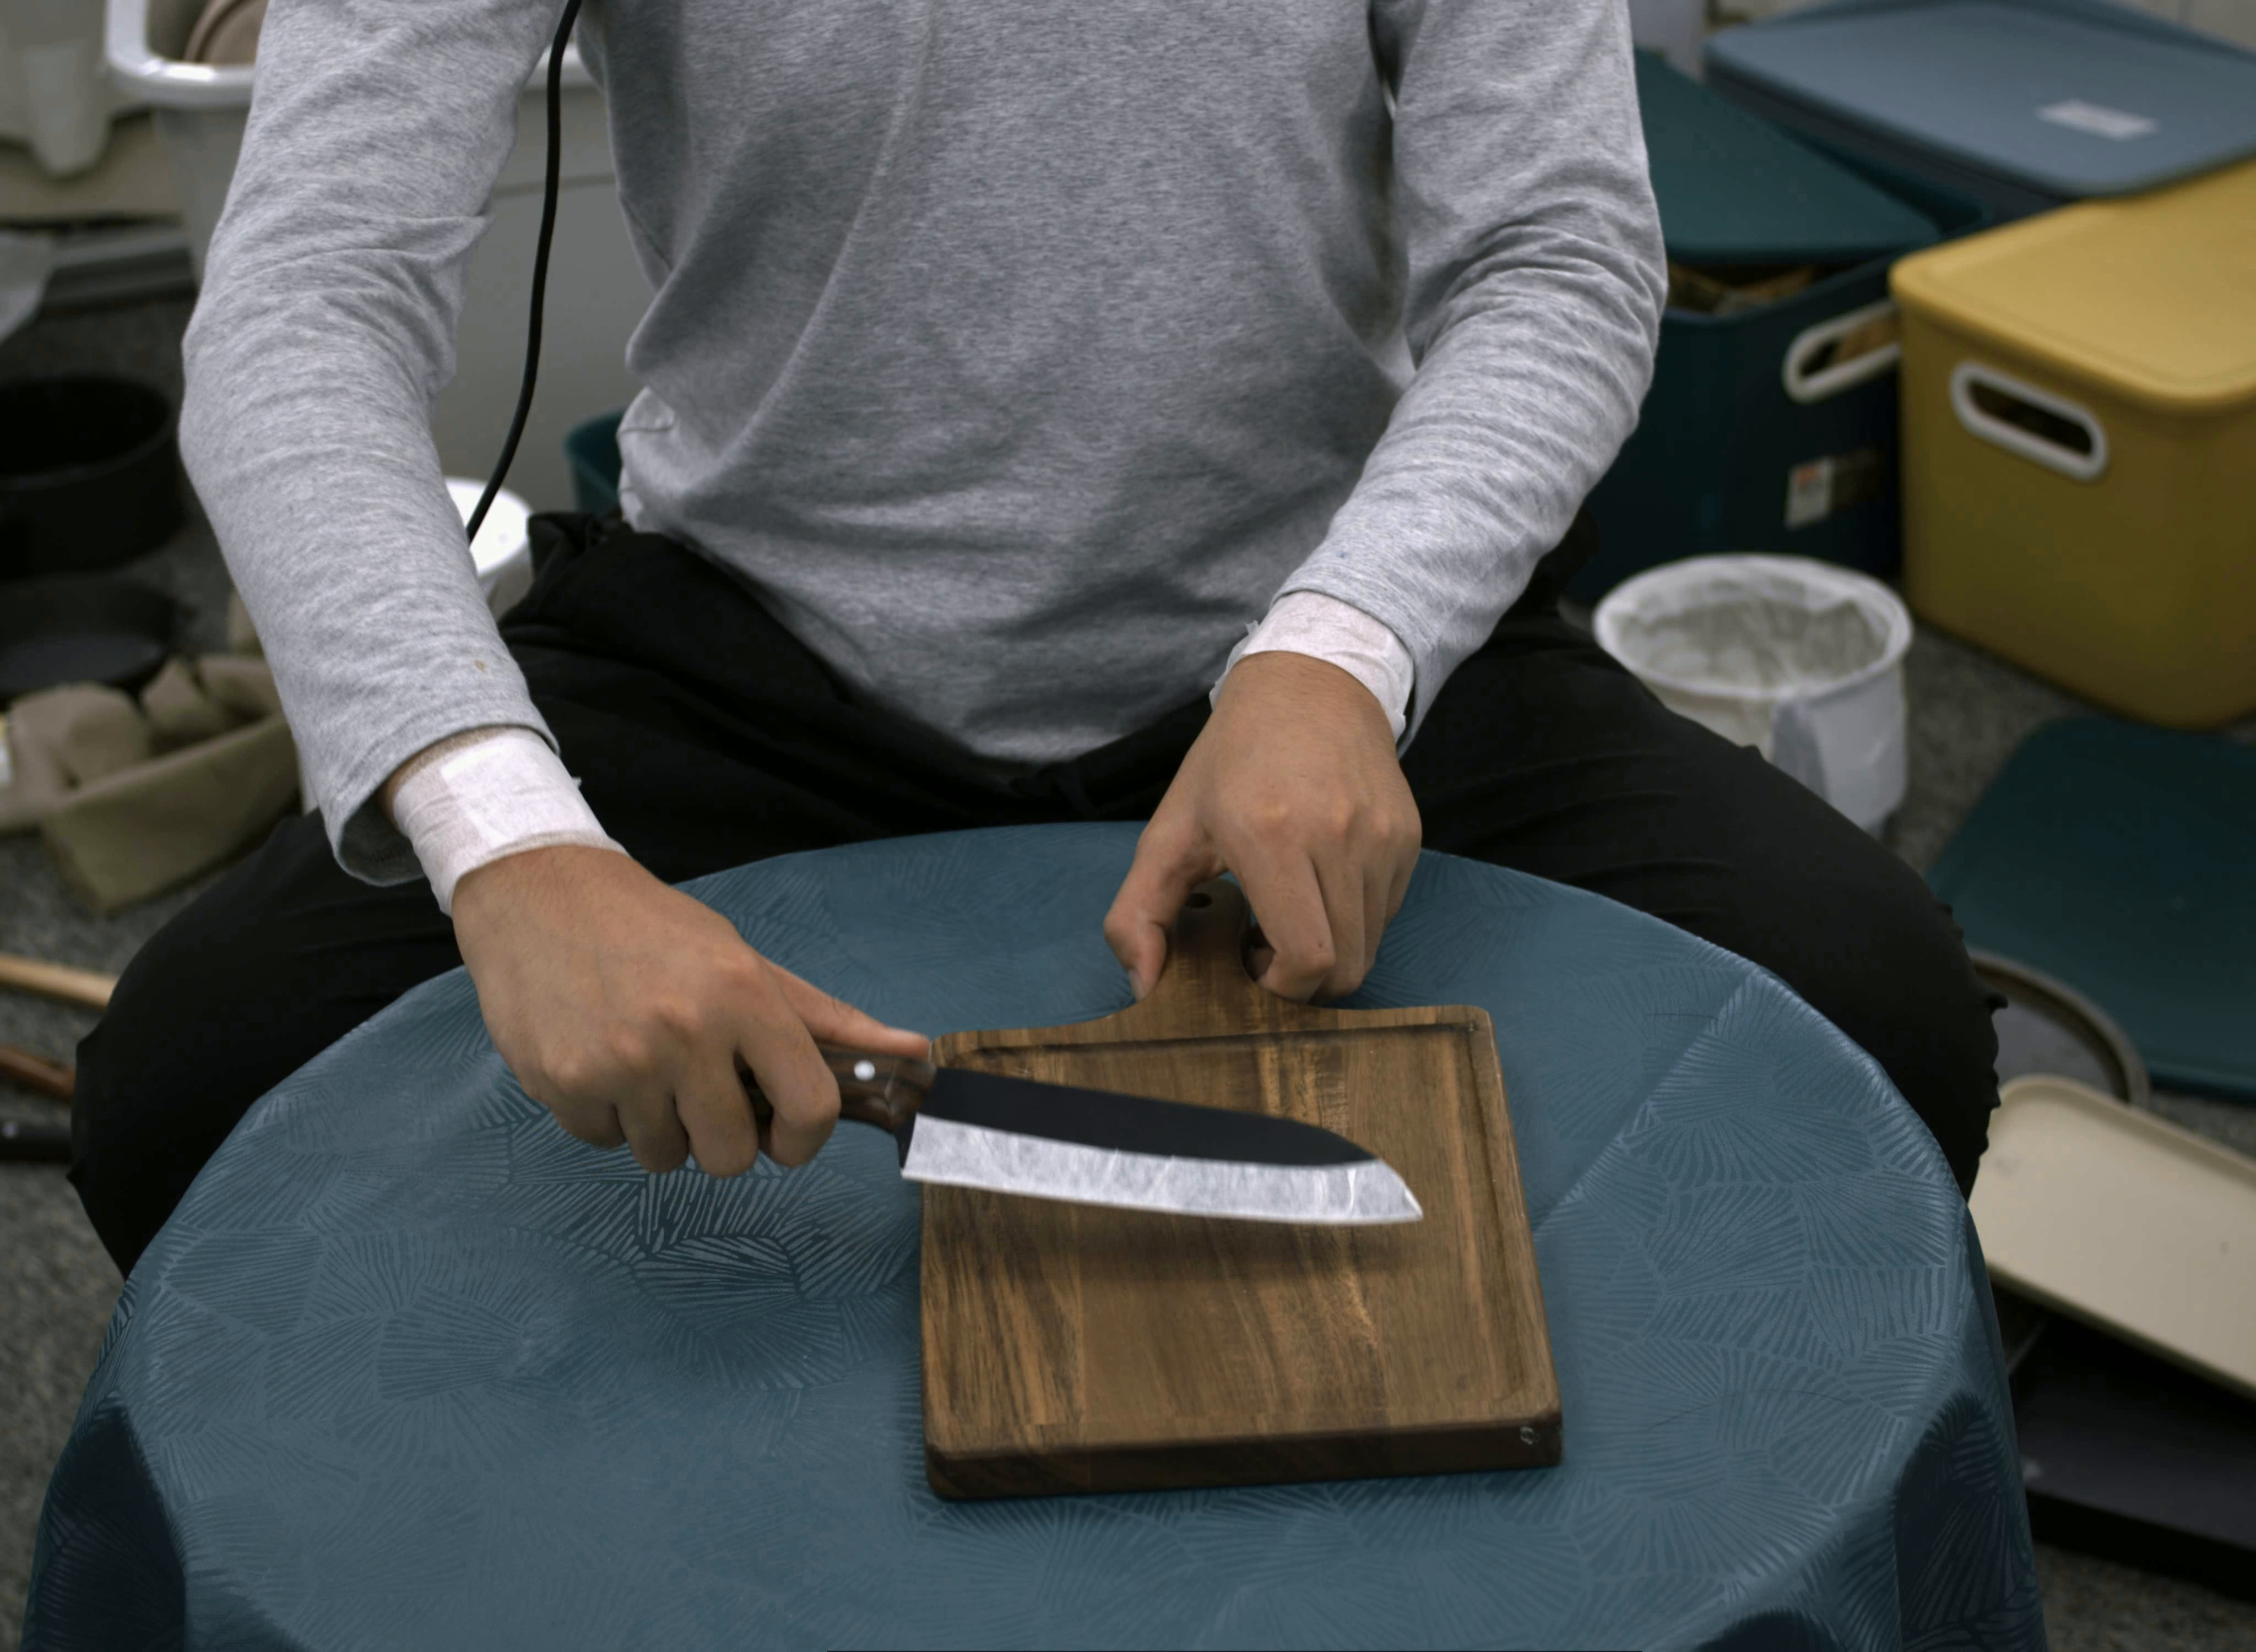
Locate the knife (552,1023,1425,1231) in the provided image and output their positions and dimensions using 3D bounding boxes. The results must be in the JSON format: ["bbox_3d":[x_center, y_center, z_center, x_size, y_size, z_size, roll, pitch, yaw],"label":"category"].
[{"bbox_3d":[-0.046,0.098,1.800,0.287,0.019,0.051,10,53,5],"label":"knife"}]

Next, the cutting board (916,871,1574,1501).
[{"bbox_3d":[0.030,0.109,1.855,0.200,0.023,0.357,-2,28,-1],"label":"cutting board"}]
